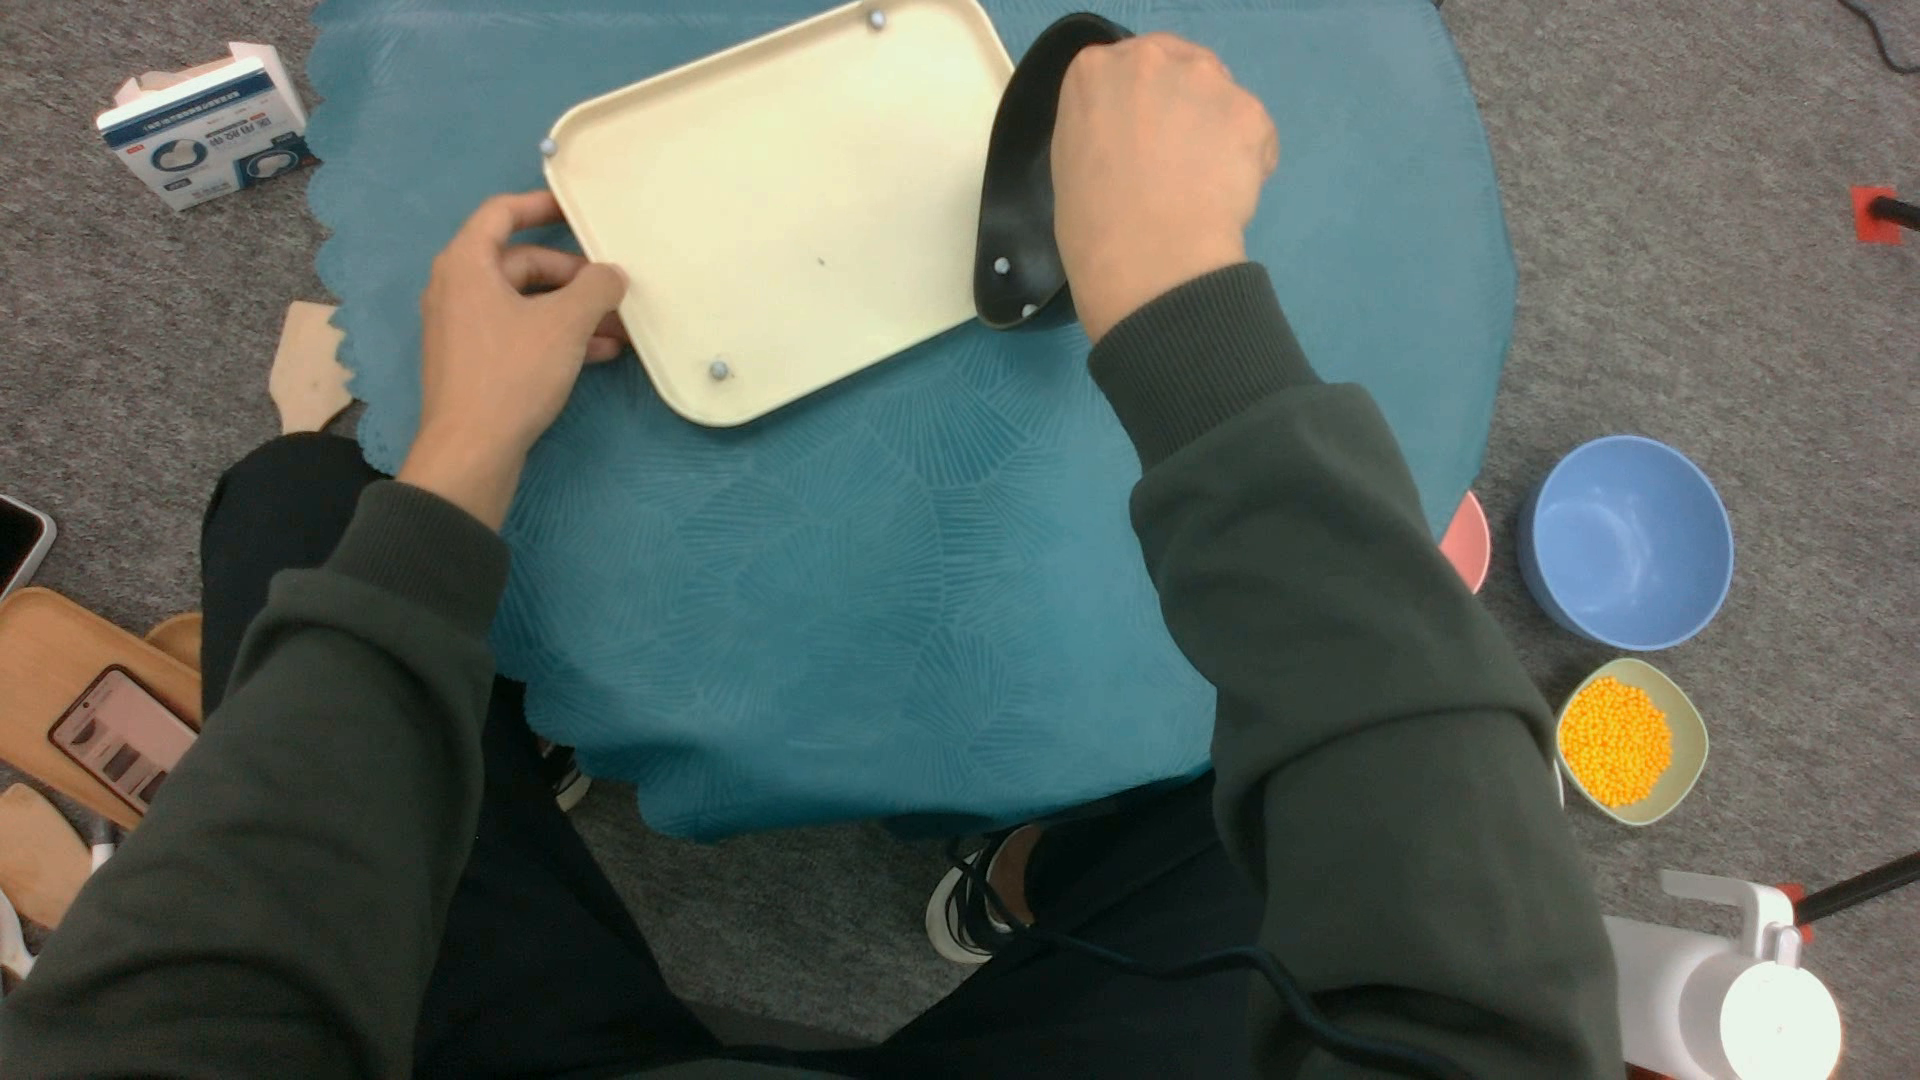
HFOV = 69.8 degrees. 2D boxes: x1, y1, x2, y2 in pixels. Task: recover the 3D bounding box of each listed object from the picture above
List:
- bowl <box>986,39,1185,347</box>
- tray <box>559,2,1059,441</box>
[{"bbox_3d":[0.062,-0.154,0.649,0.067,0.170,0.137,8,83,-21],"label":"bowl"},{"bbox_3d":[-0.065,-0.164,0.700,0.240,0.017,0.171,-28,88,-15],"label":"tray"}]
